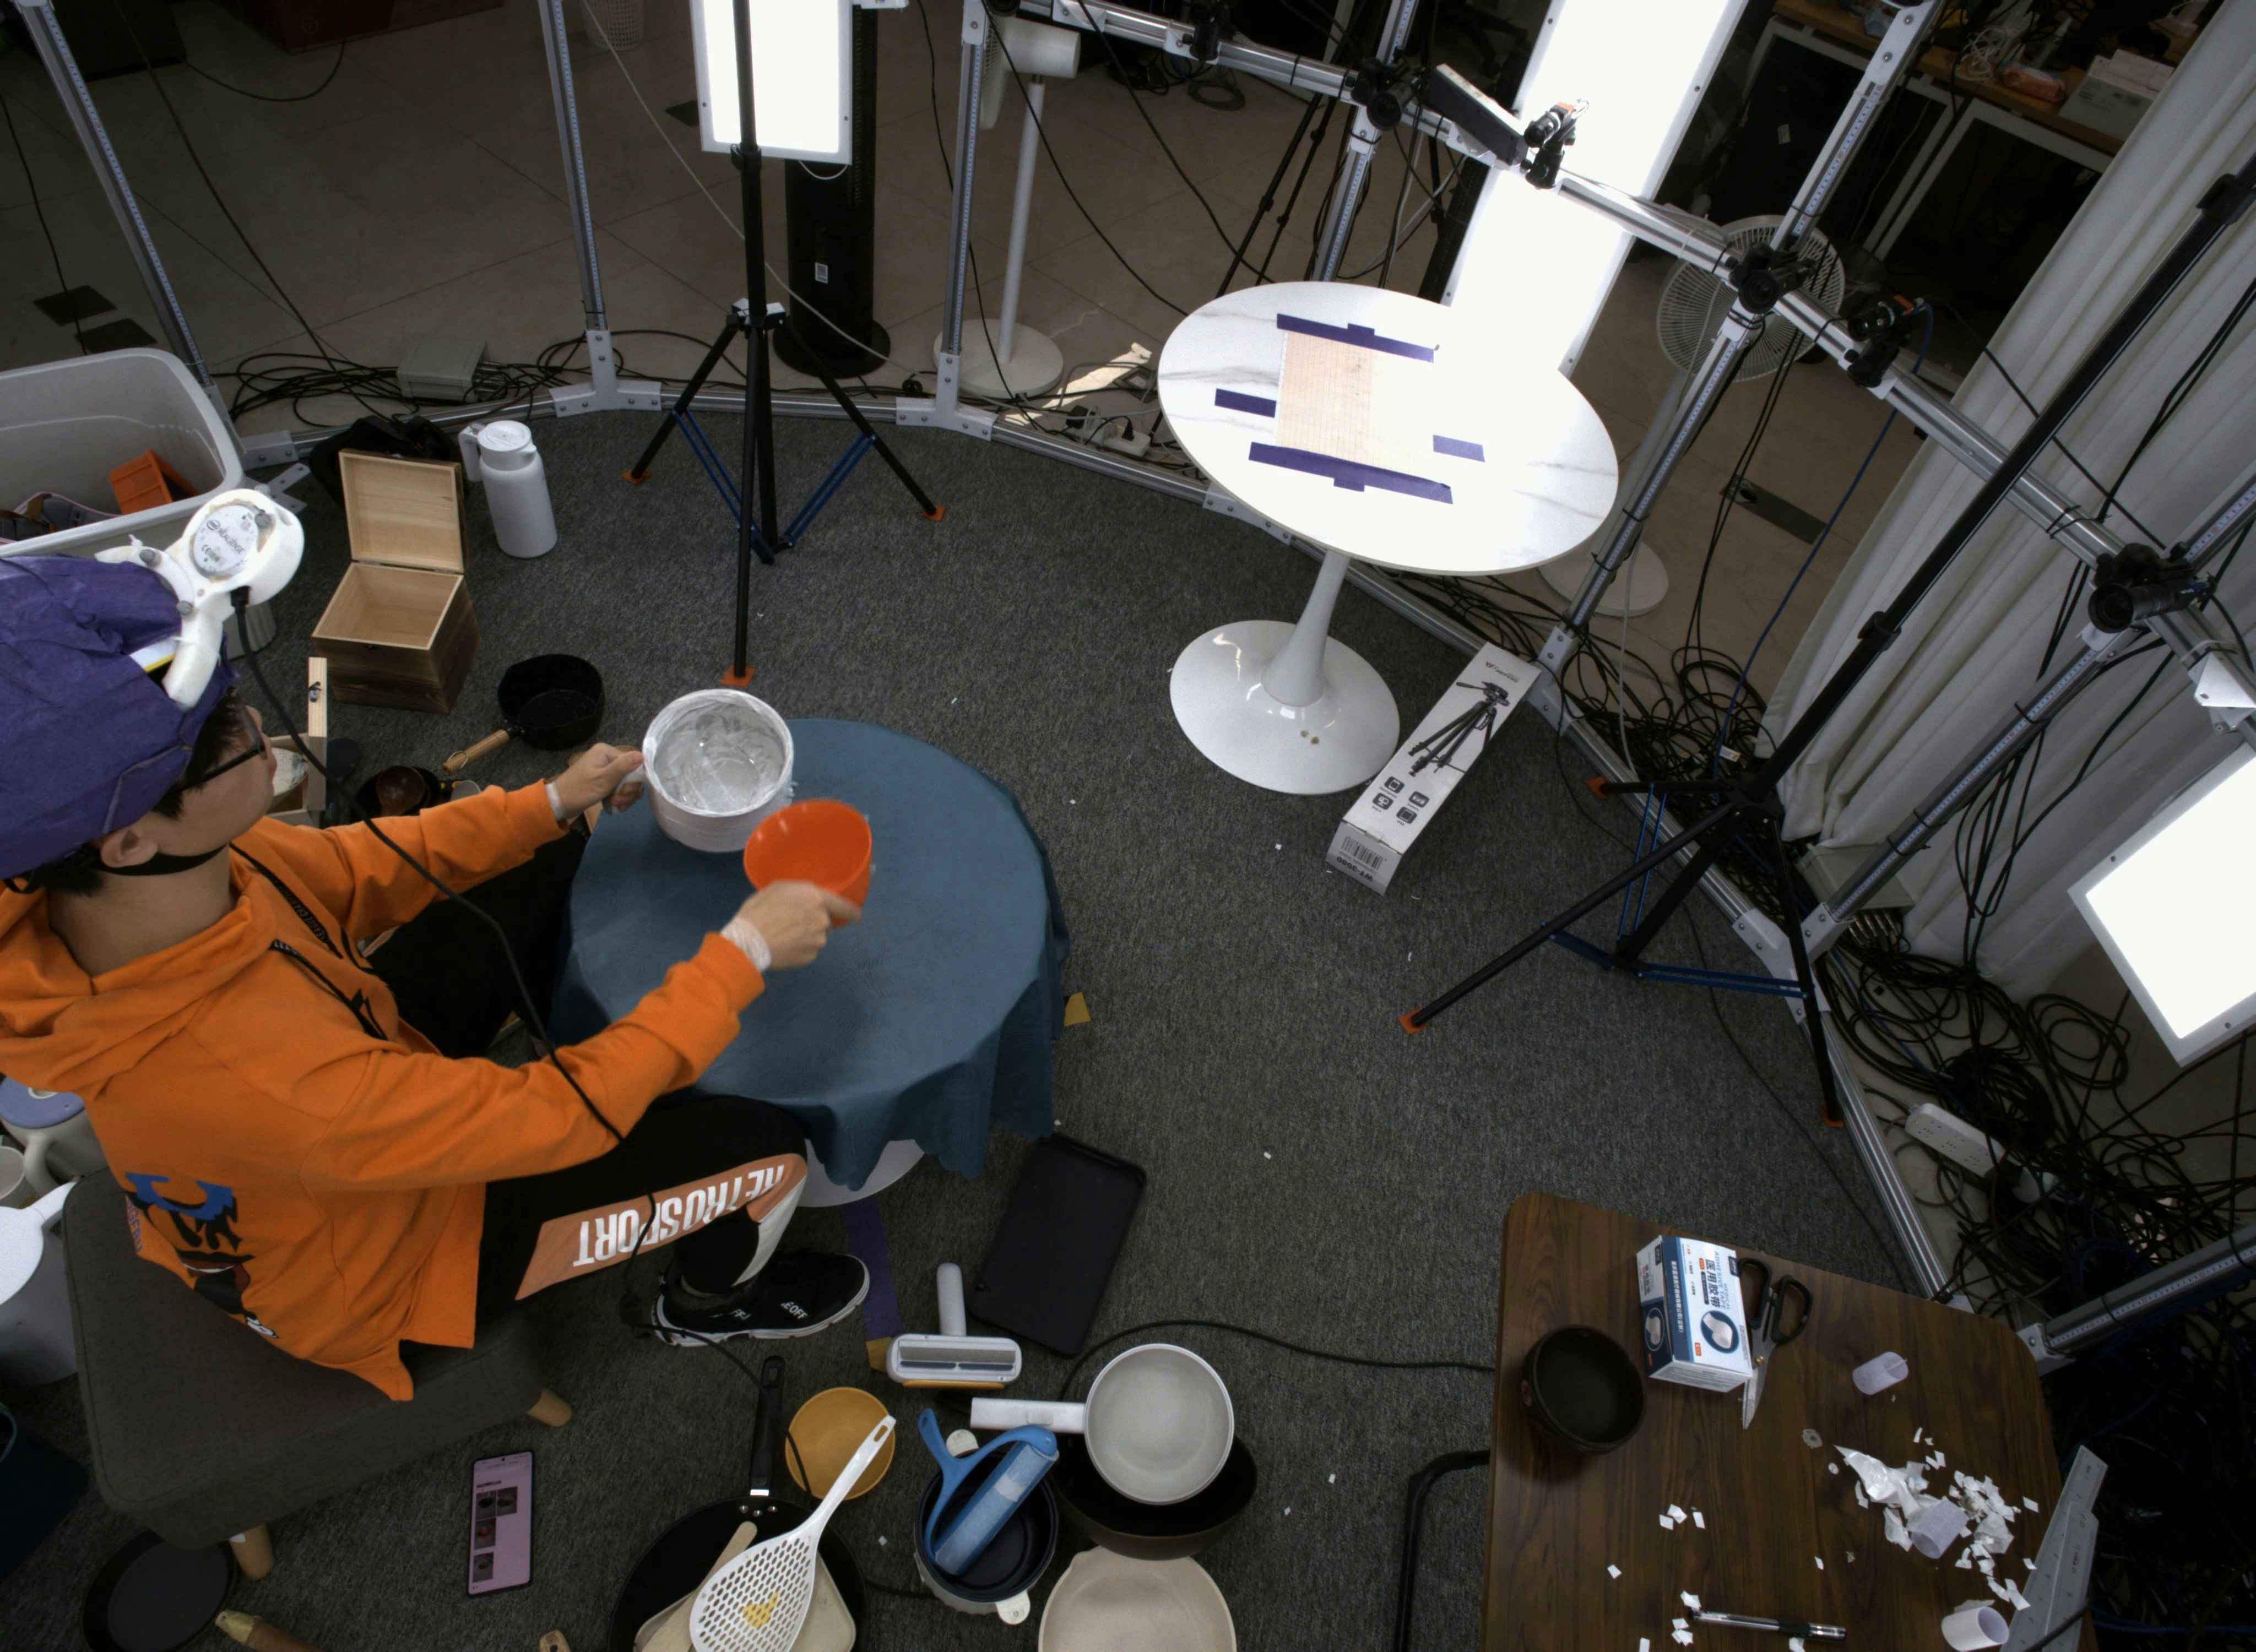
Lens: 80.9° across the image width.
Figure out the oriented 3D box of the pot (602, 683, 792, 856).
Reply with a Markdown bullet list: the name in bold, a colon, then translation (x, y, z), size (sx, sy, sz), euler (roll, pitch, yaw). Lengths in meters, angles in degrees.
- **pot**: translation (-0.530, -0.061, 1.574), size (0.235, 0.138, 0.176), euler (-8, 66, -21)

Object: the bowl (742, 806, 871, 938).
- **bowl**: translation (-0.361, 0.062, 1.504), size (0.146, 0.108, 0.145), euler (-4, 44, 5)
